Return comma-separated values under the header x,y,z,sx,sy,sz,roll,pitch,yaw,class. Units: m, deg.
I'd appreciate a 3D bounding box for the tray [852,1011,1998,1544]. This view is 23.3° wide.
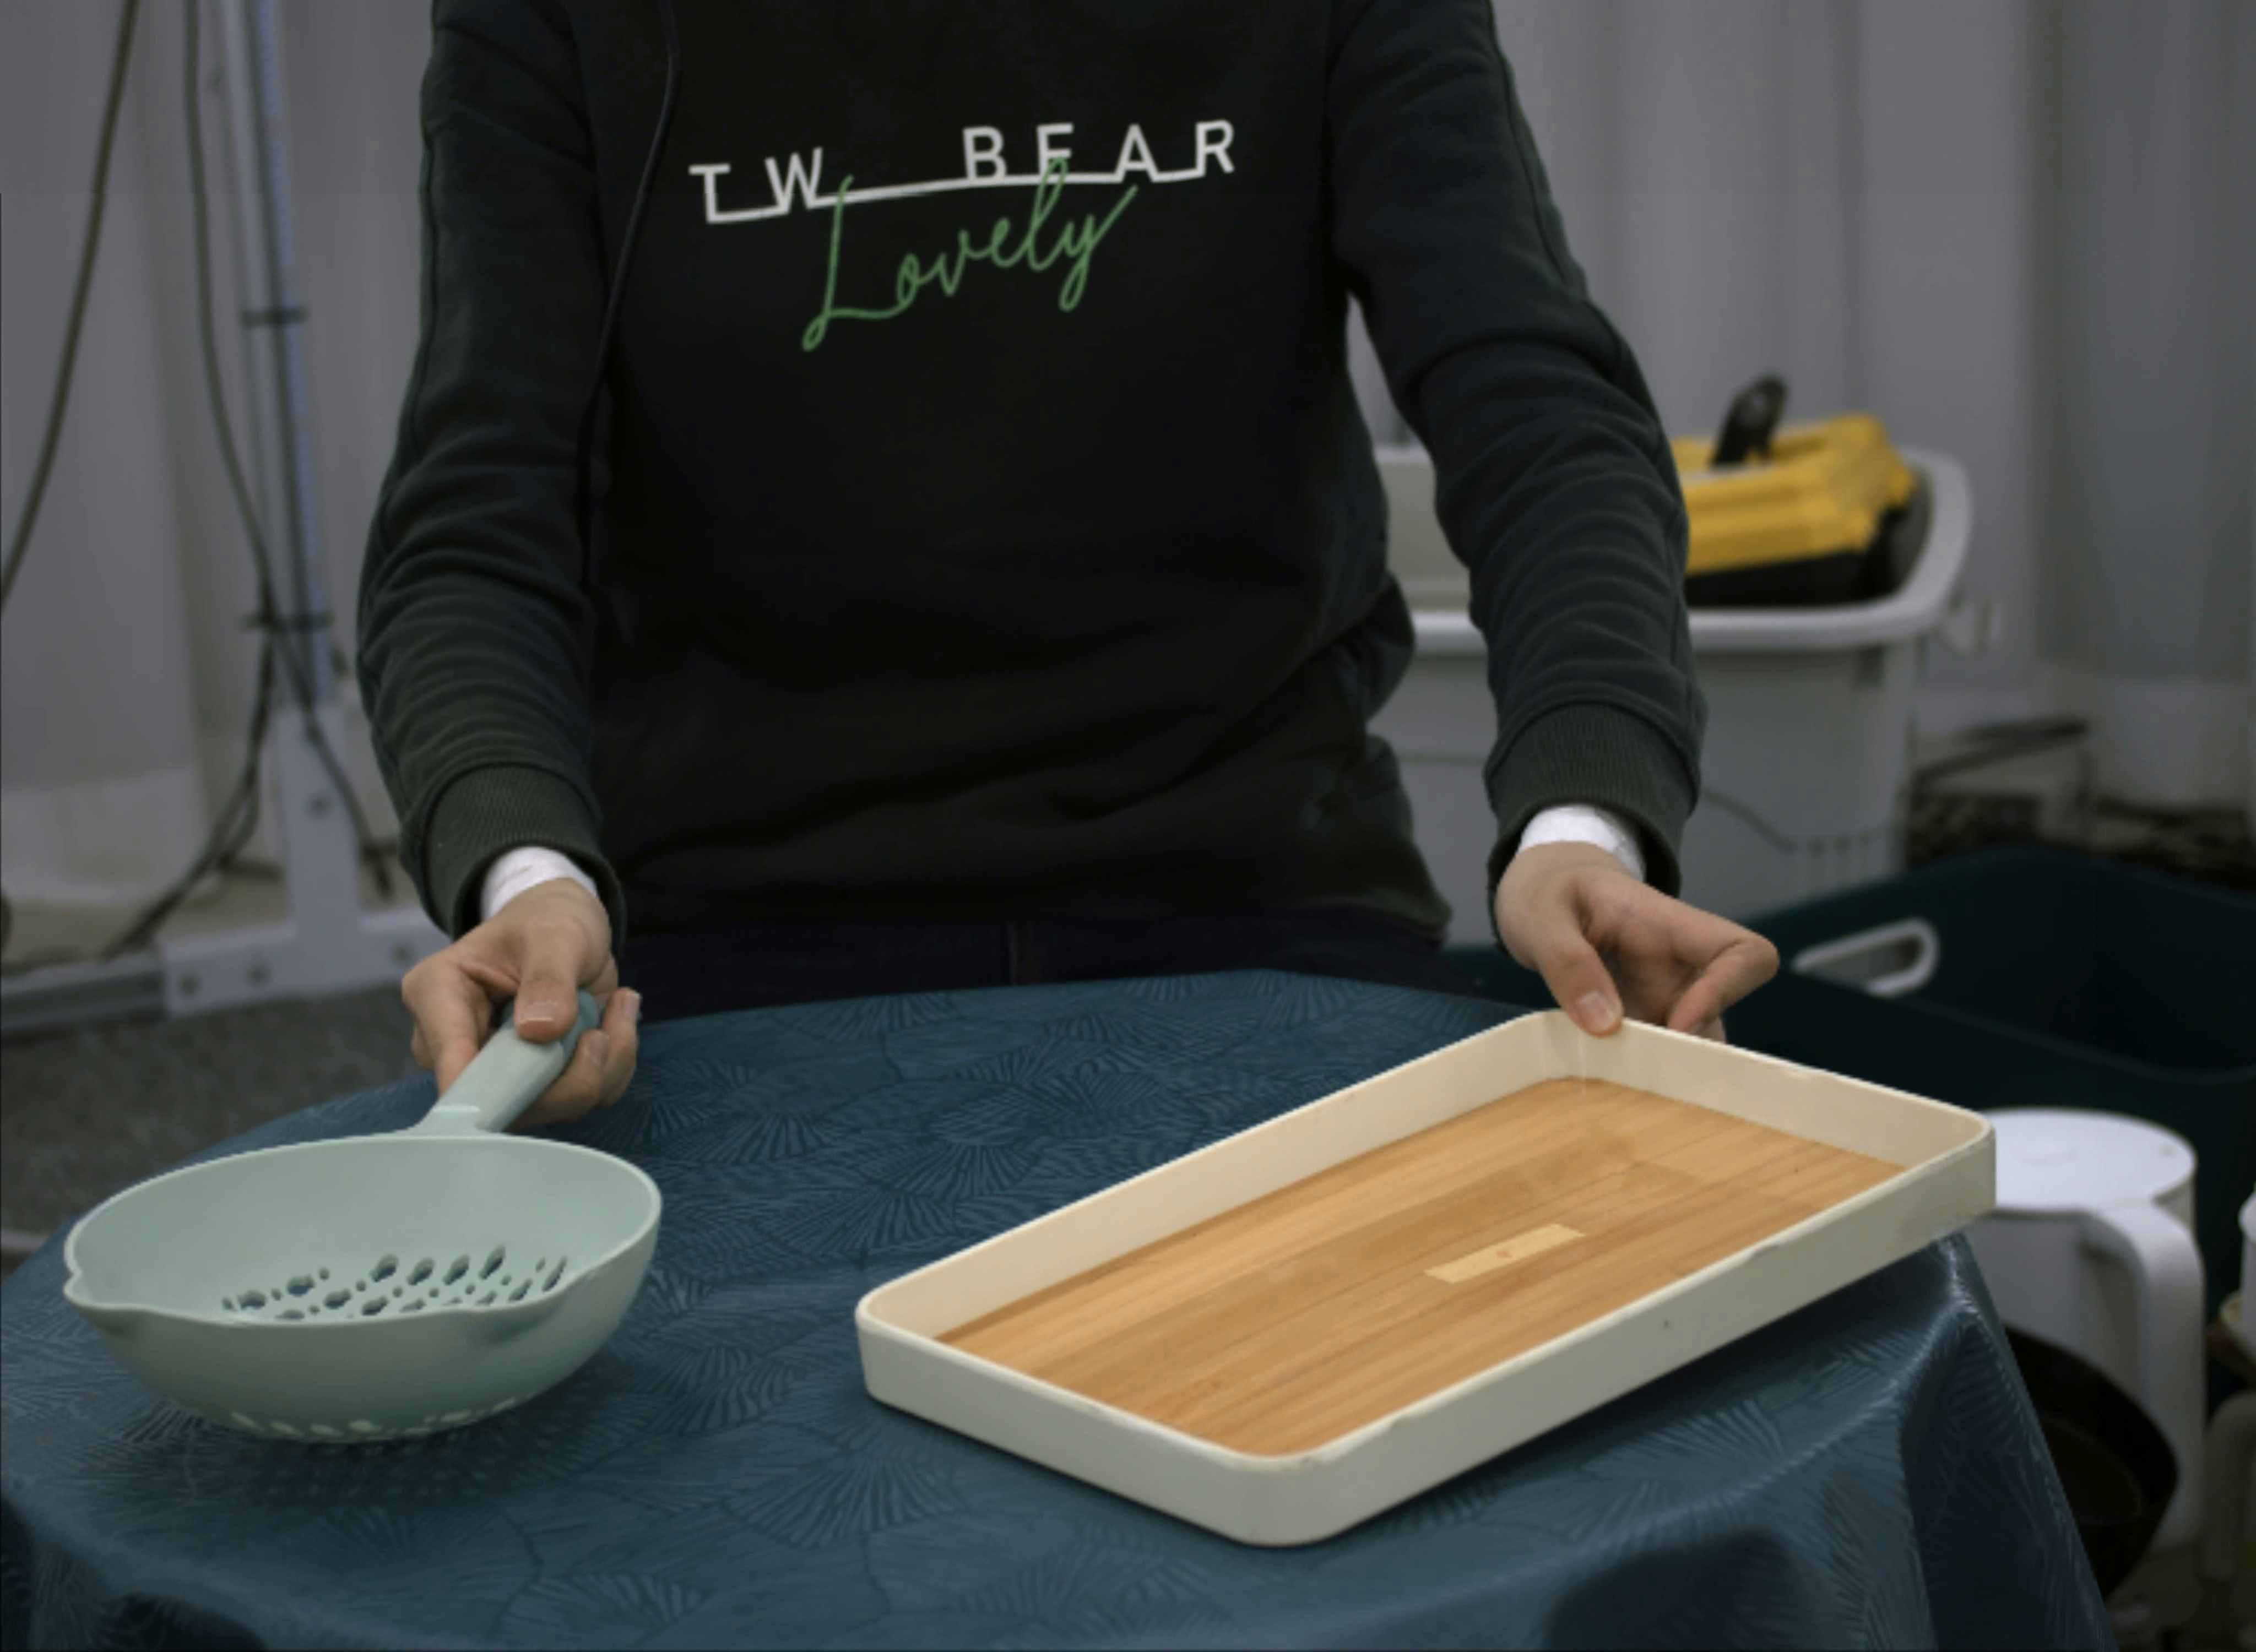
x,y,z,sx,sy,sz,roll,pitch,yaw,class
0.088,0.124,1.574,0.300,0.027,0.193,-19,22,-37,tray

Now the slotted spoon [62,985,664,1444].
x,y,z,sx,sy,sz,roll,pitch,yaw,class
-0.203,0.100,1.643,0.169,0.075,0.362,0,22,7,slotted spoon
